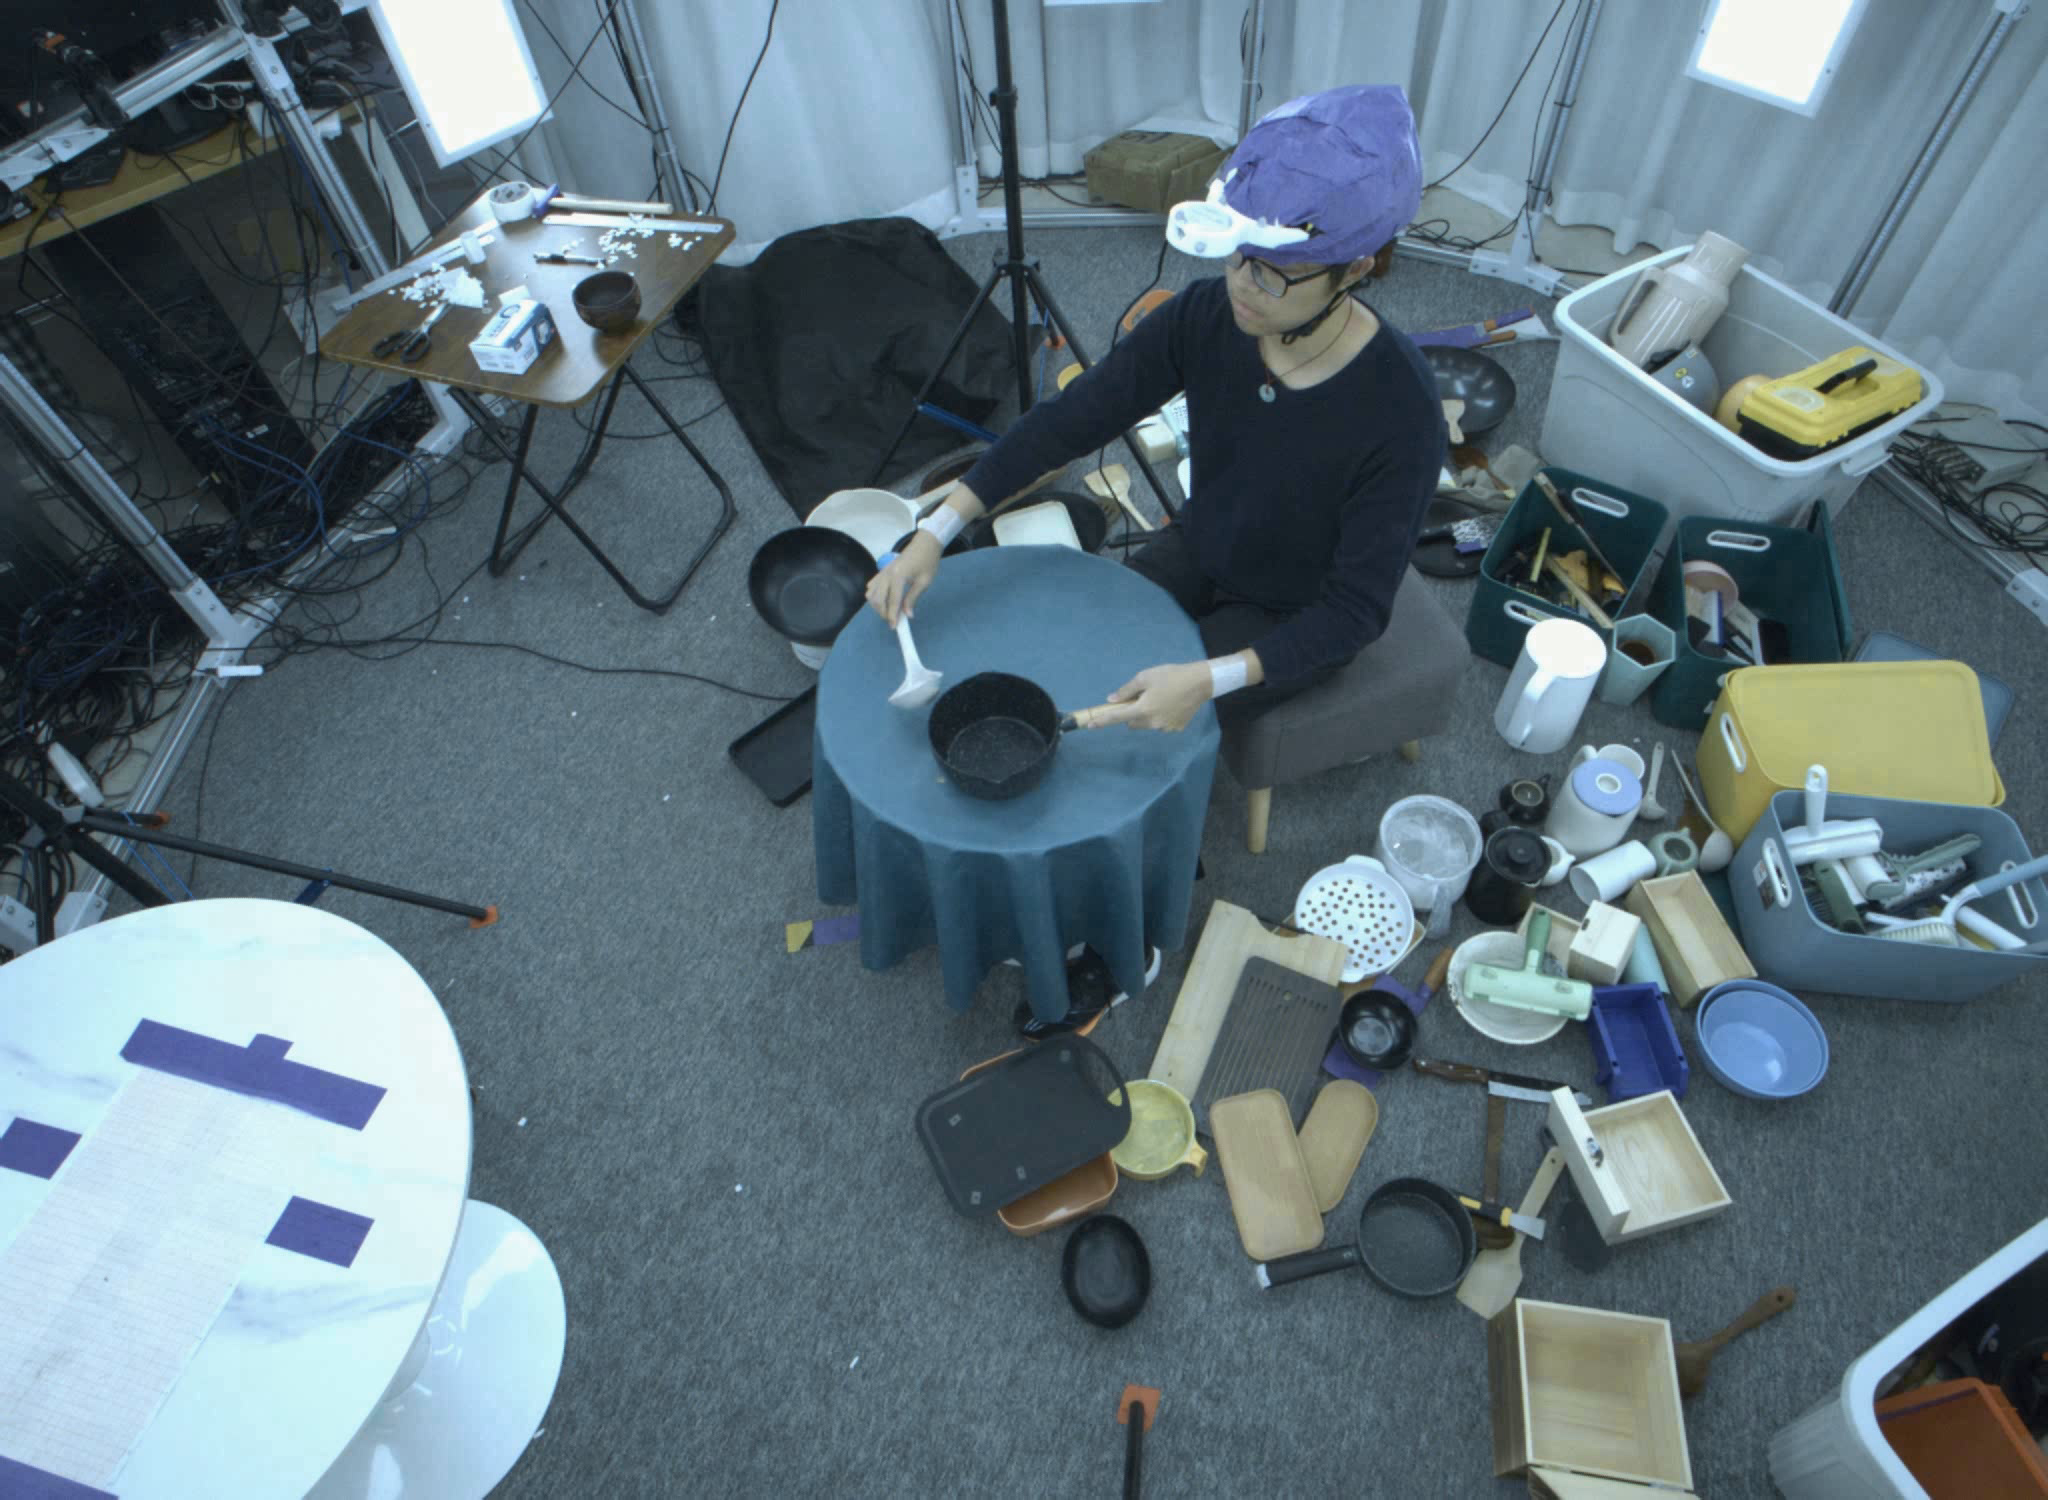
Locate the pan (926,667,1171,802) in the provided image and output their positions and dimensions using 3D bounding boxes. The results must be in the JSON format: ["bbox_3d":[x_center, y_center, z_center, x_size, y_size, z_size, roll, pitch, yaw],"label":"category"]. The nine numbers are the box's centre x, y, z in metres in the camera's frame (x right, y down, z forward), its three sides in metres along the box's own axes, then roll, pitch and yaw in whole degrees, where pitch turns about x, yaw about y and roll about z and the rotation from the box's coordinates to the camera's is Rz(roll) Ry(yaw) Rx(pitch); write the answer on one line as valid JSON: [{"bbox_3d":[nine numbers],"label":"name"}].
[{"bbox_3d":[0.037,-0.029,1.740,0.343,0.109,0.204,-8,54,-2],"label":"pan"}]

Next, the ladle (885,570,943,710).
[{"bbox_3d":[-0.186,-0.177,1.811,0.089,0.071,0.271,-27,61,15],"label":"ladle"}]
